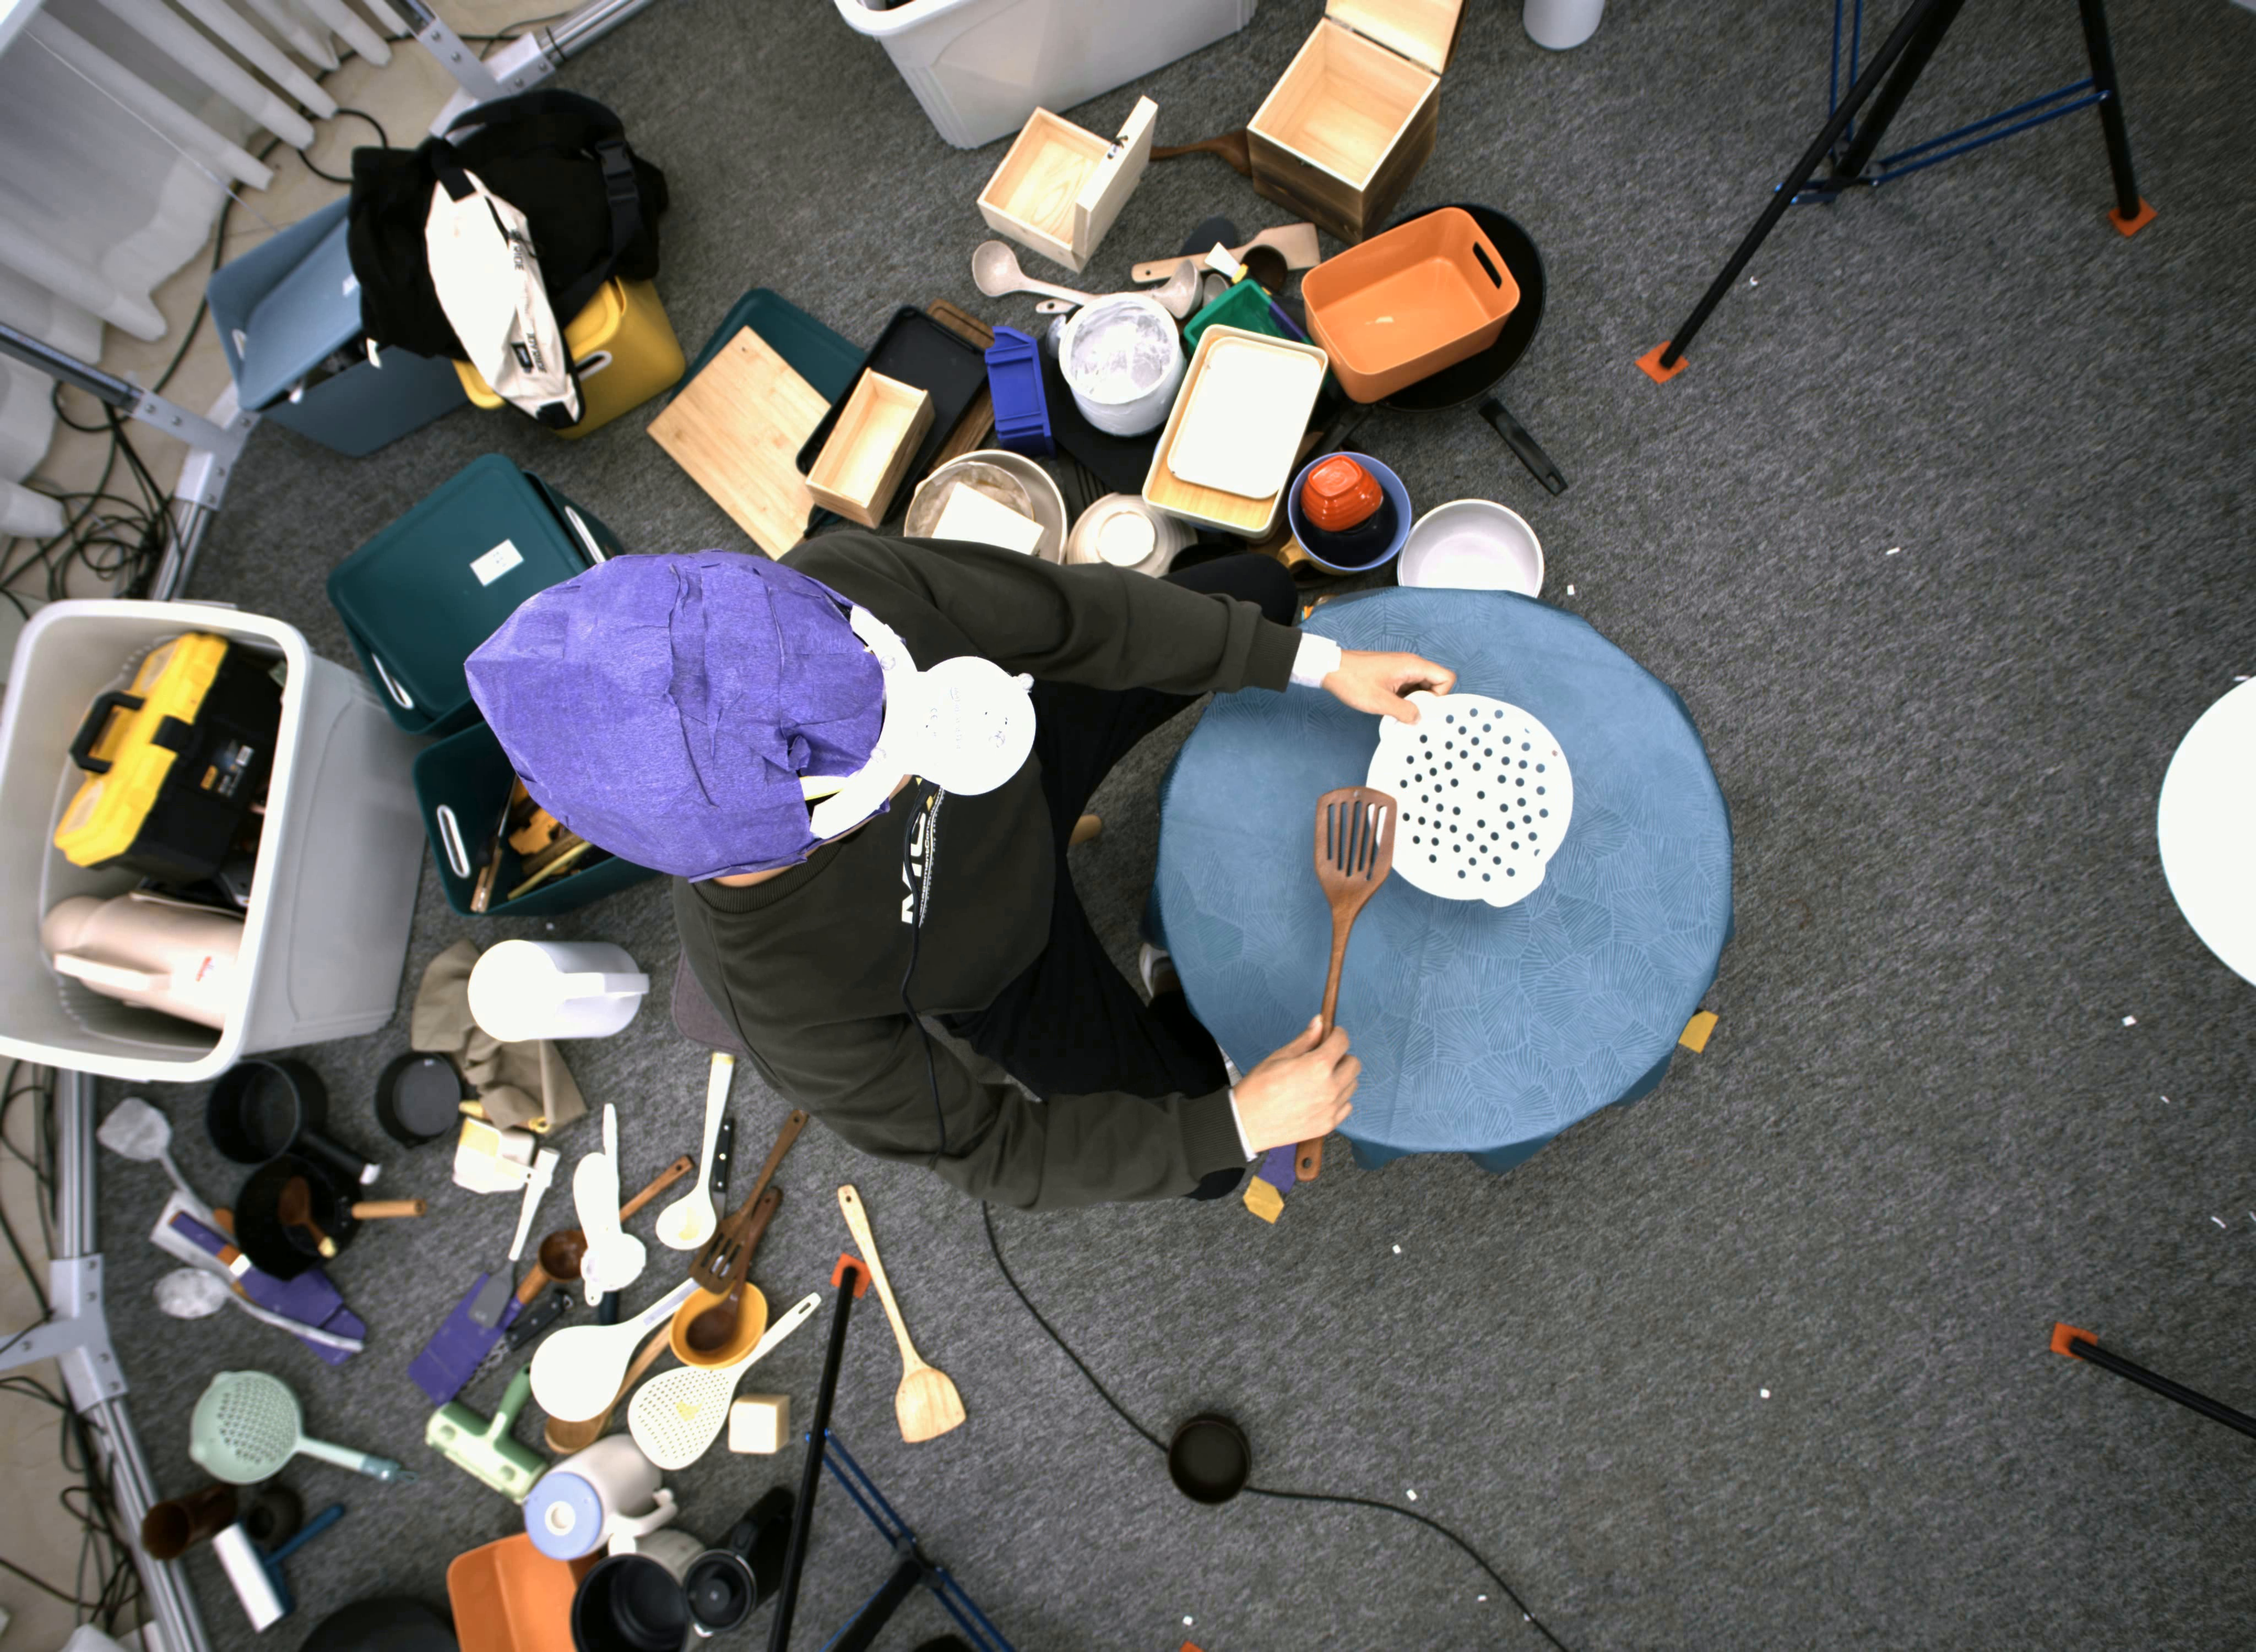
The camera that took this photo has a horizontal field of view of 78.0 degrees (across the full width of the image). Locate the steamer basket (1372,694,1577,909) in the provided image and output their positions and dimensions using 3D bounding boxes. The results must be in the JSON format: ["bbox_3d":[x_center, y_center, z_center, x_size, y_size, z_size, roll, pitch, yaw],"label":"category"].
[{"bbox_3d":[0.346,-0.027,1.372,0.206,0.069,0.227,-39,68,31],"label":"steamer basket"}]

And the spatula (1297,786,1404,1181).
[{"bbox_3d":[0.202,0.145,1.327,0.086,0.024,0.380,5,76,23],"label":"spatula"}]
